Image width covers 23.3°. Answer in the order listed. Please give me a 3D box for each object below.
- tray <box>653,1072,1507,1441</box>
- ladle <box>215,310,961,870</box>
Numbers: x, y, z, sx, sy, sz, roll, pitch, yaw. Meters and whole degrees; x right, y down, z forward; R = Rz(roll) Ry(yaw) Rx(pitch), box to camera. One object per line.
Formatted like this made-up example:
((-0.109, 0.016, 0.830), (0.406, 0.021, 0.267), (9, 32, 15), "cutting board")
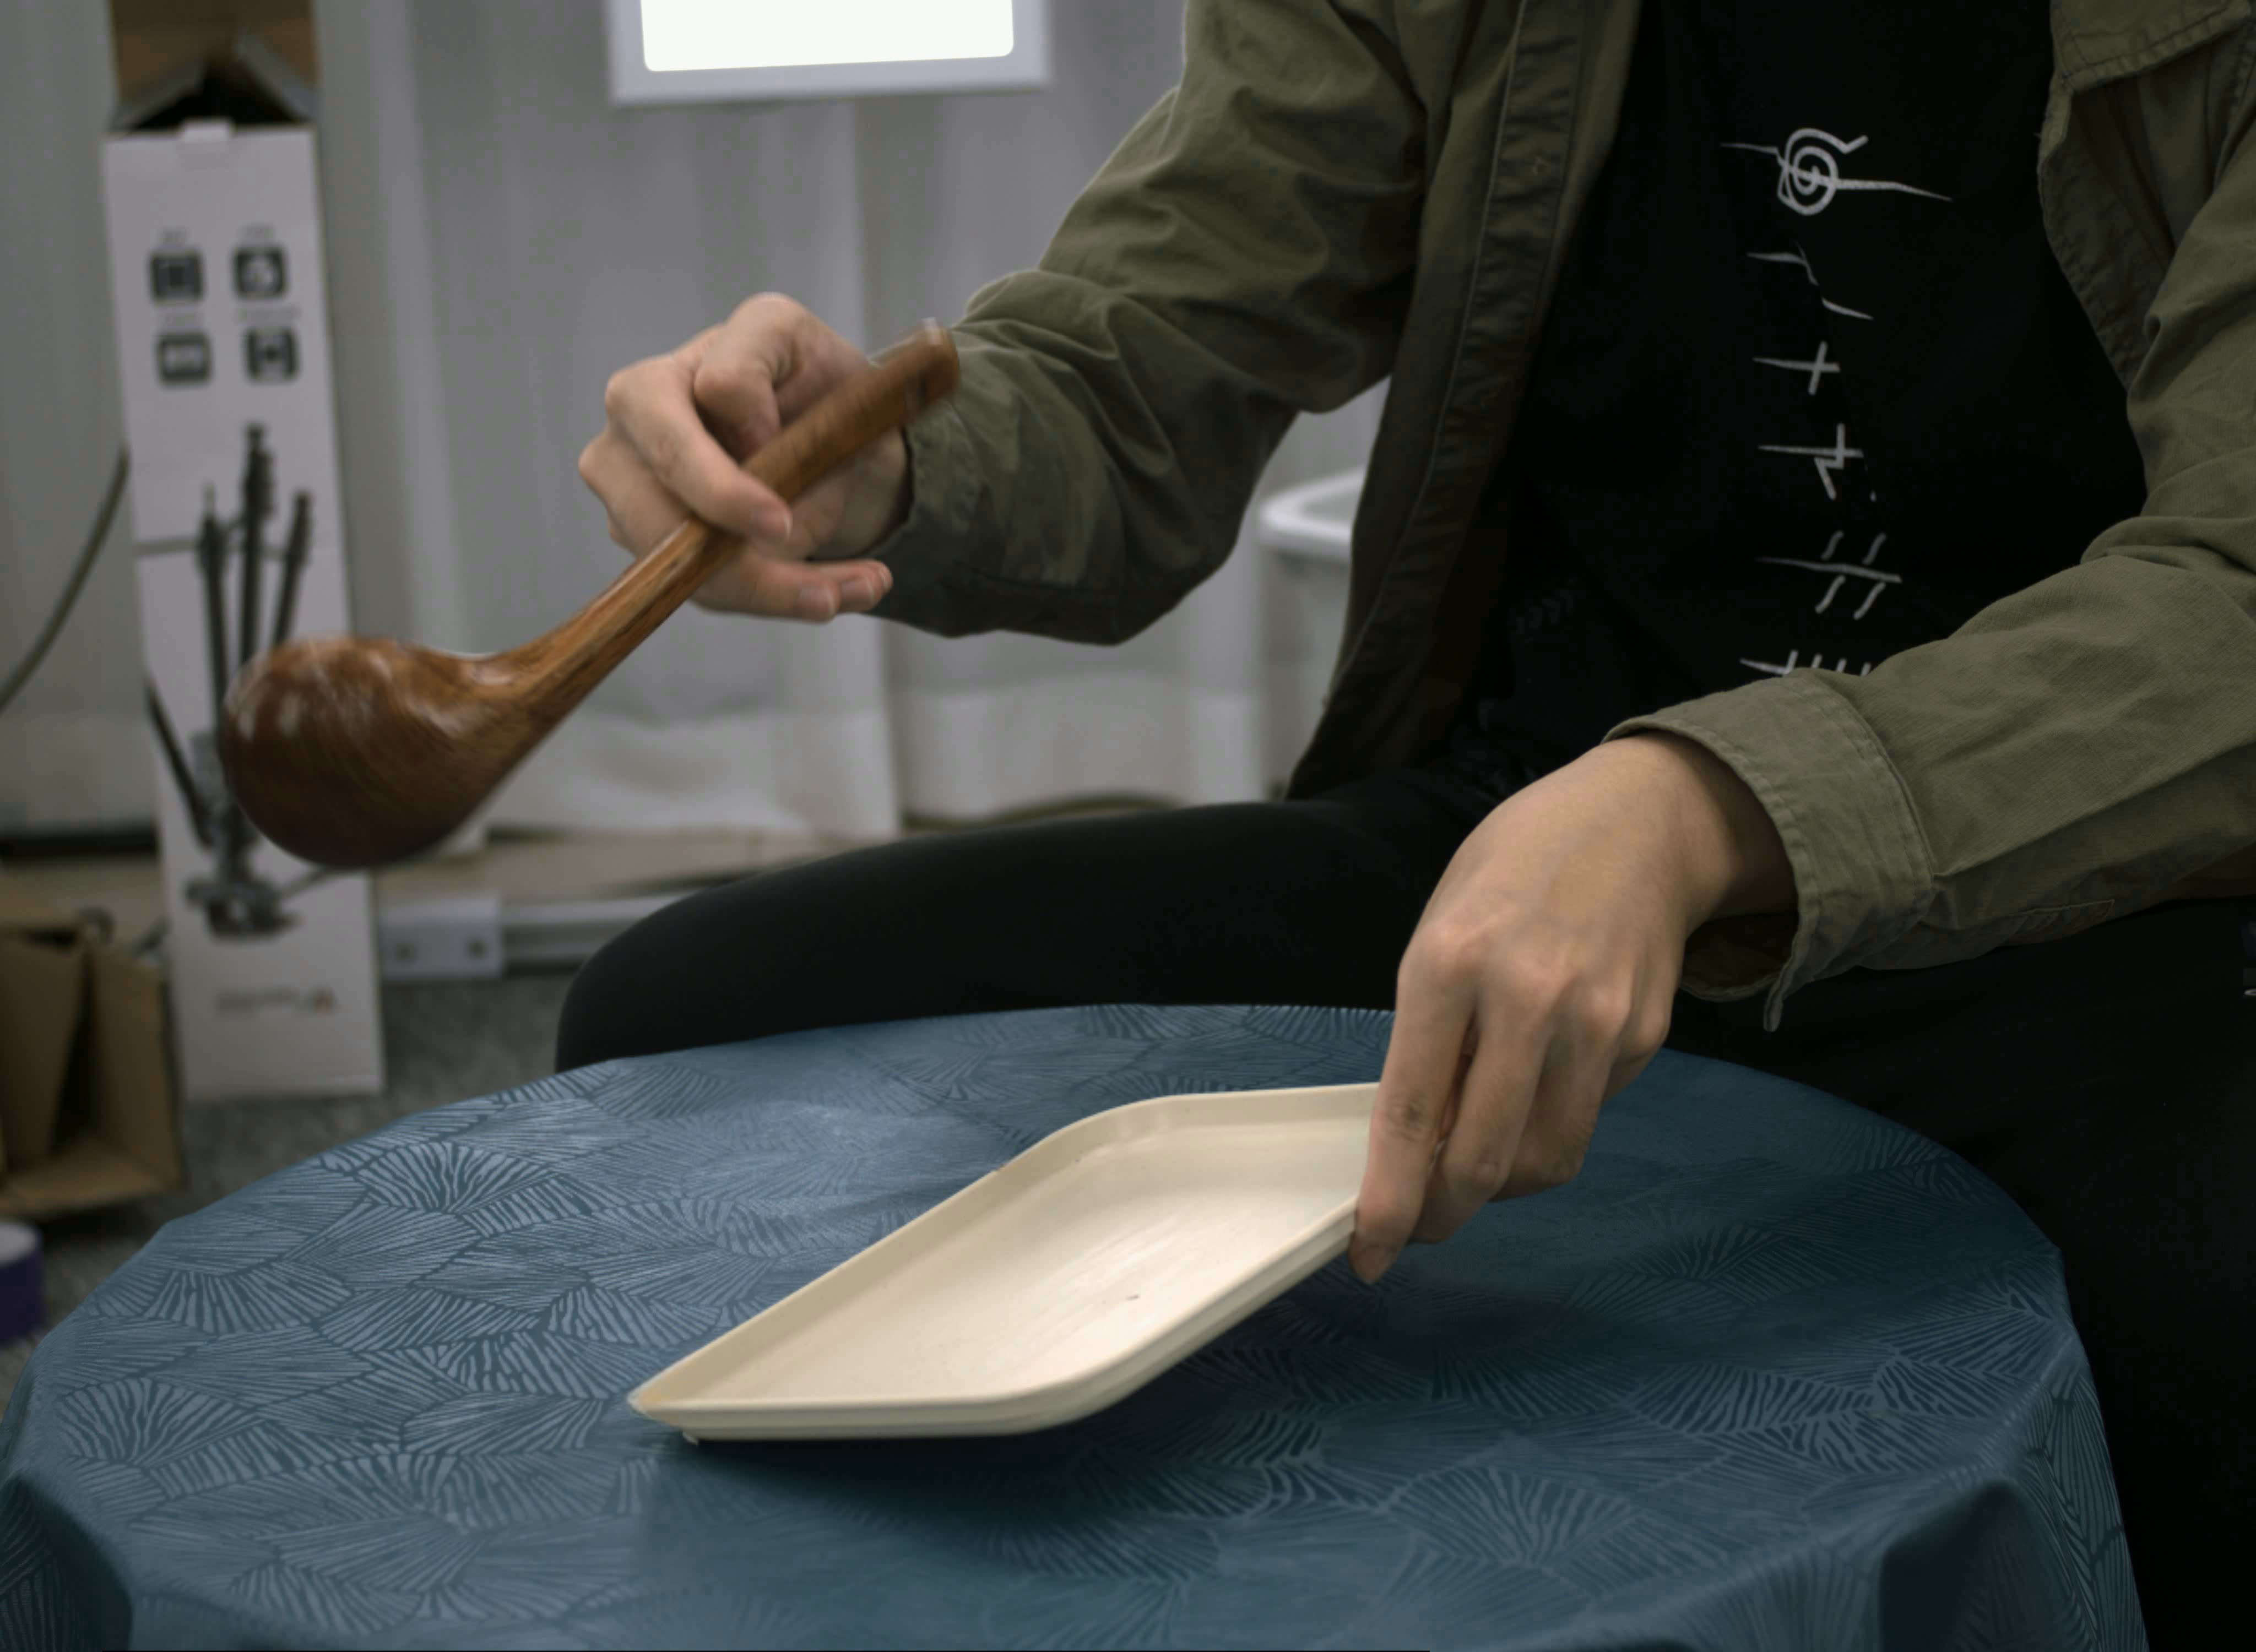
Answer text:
((-0.010, 0.124, 1.561), (0.171, 0.017, 0.240), (-6, 15, 40), "tray")
((-0.163, -0.082, 1.663), (0.077, 0.081, 0.275), (24, 51, 30), "ladle")
